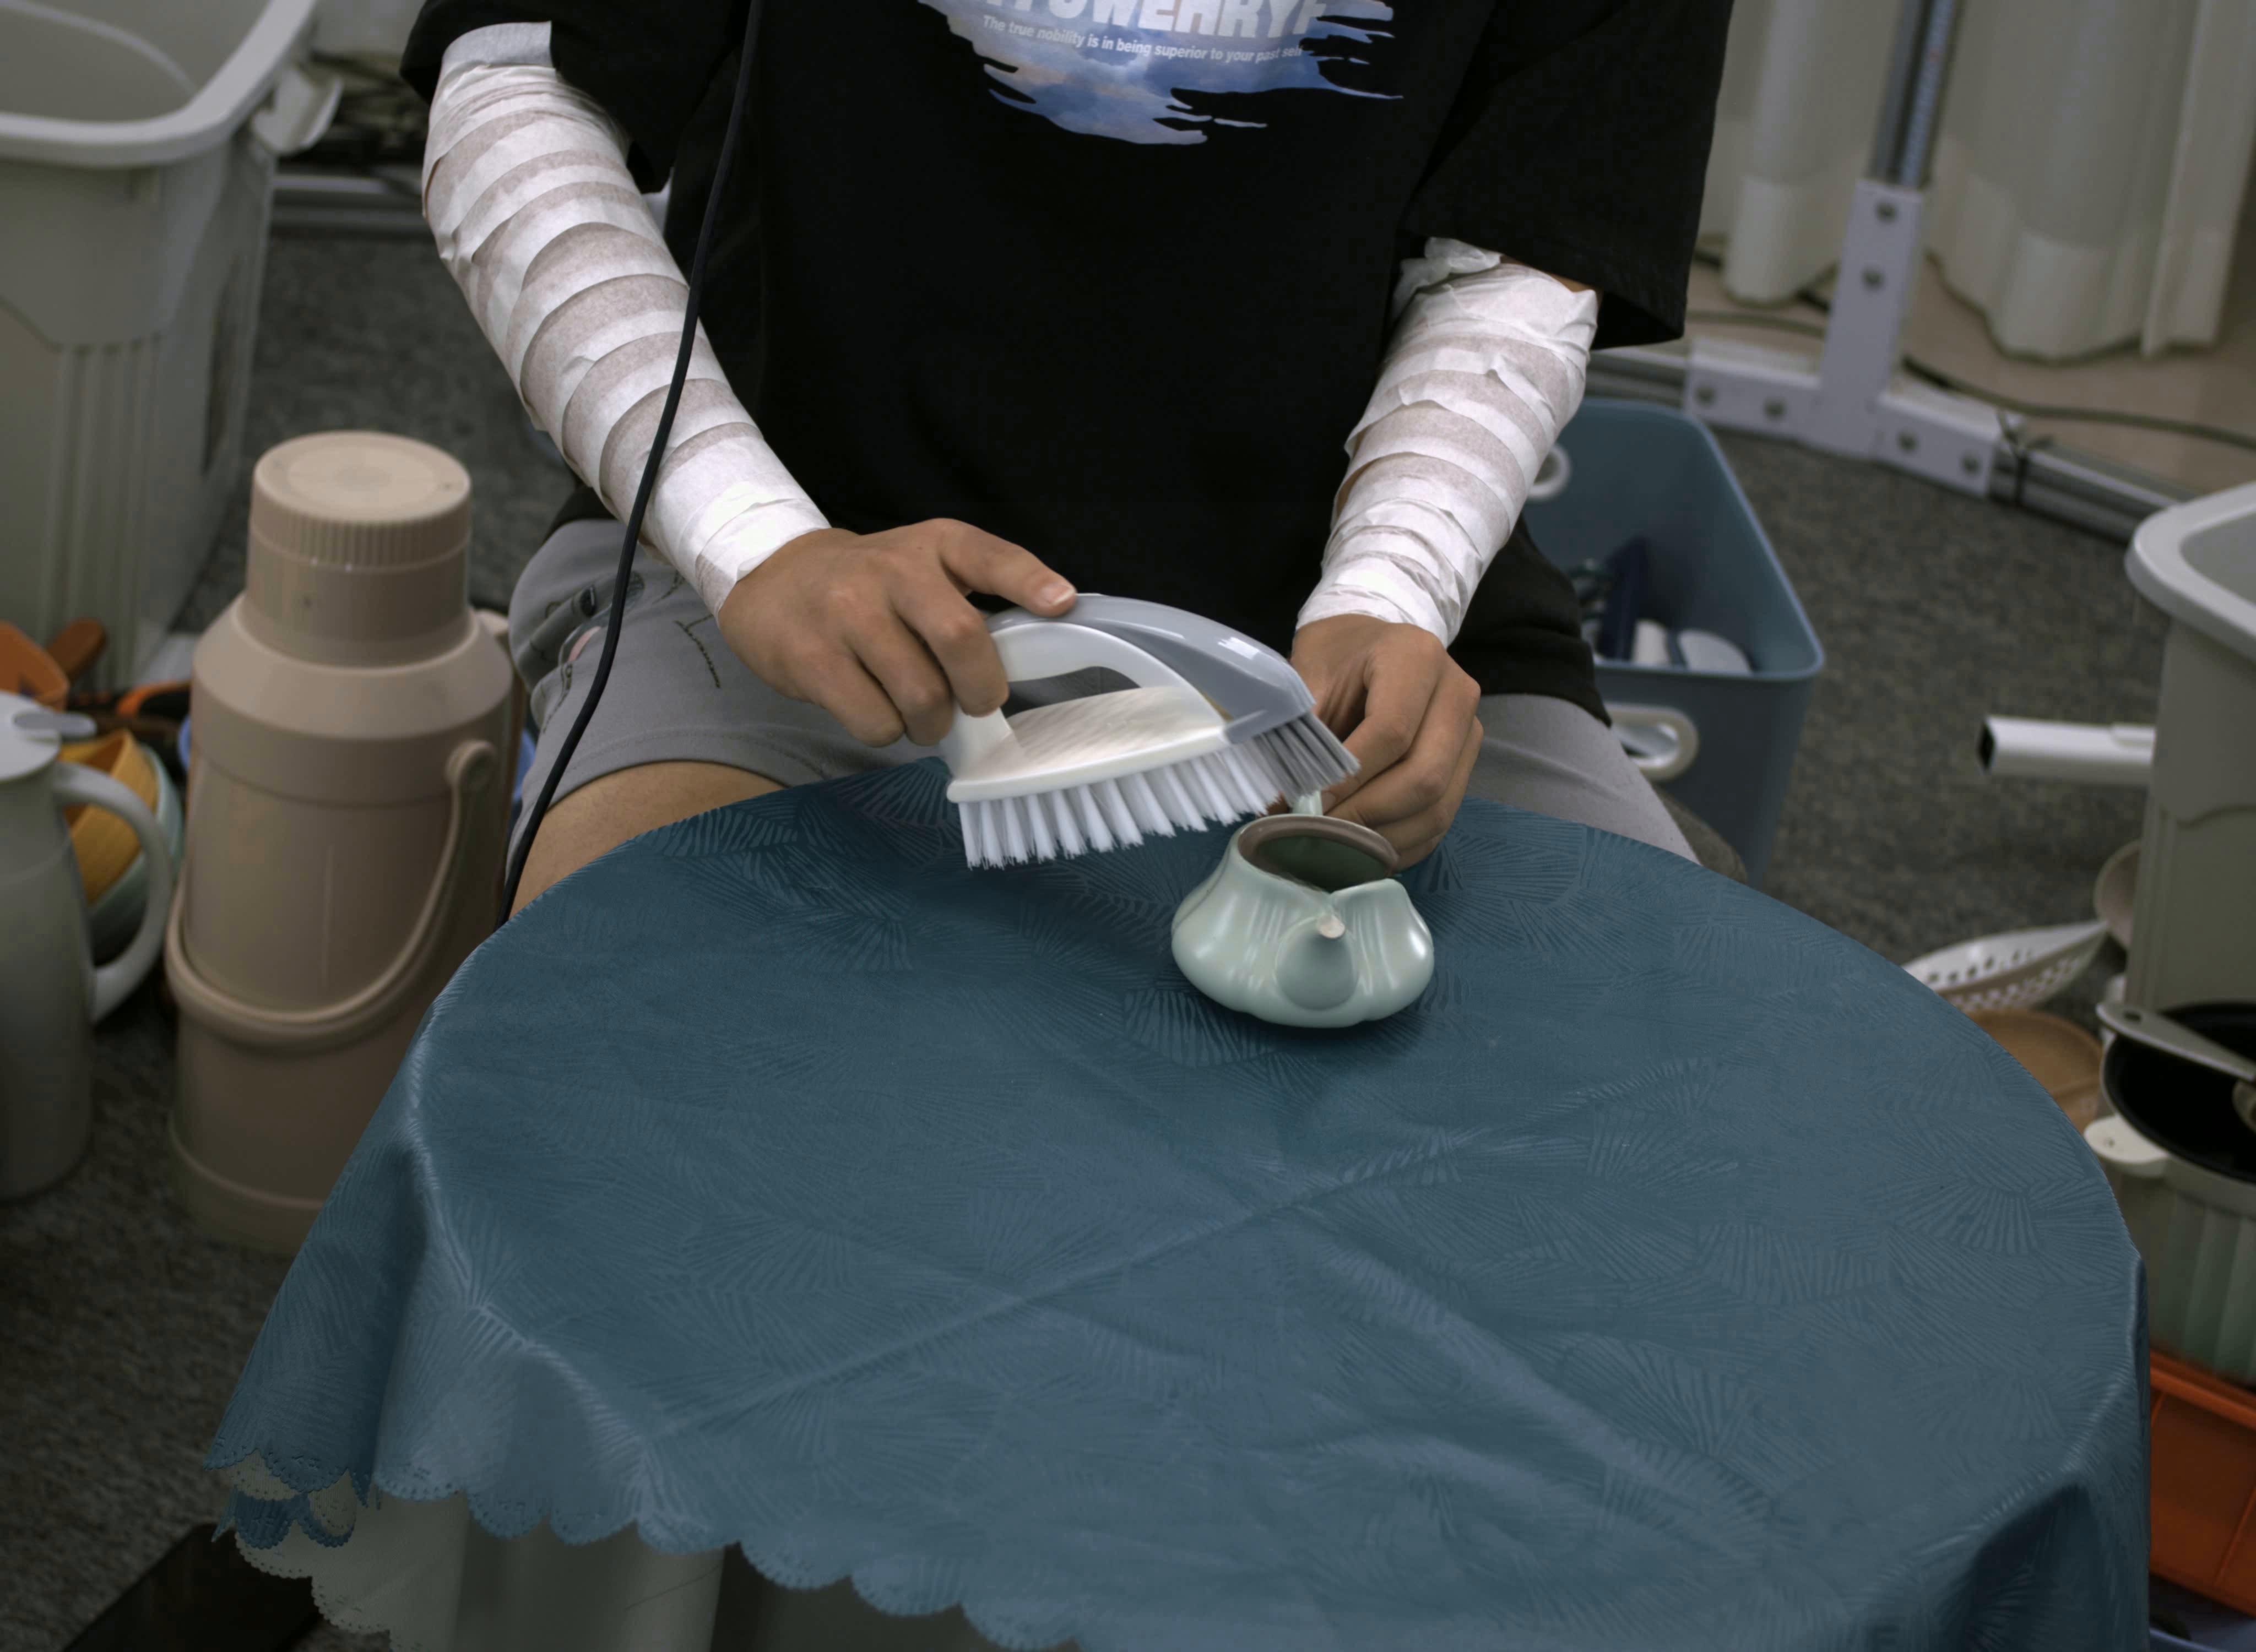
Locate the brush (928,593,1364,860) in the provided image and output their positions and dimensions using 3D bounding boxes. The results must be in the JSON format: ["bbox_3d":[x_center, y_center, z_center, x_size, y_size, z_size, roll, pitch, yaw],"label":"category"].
[{"bbox_3d":[0.000,-0.045,1.941,0.176,0.094,0.061,-6,31,40],"label":"brush"}]

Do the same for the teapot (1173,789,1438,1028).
[{"bbox_3d":[0.065,0.031,1.935,0.096,0.061,0.138,1,27,-6],"label":"teapot"}]
